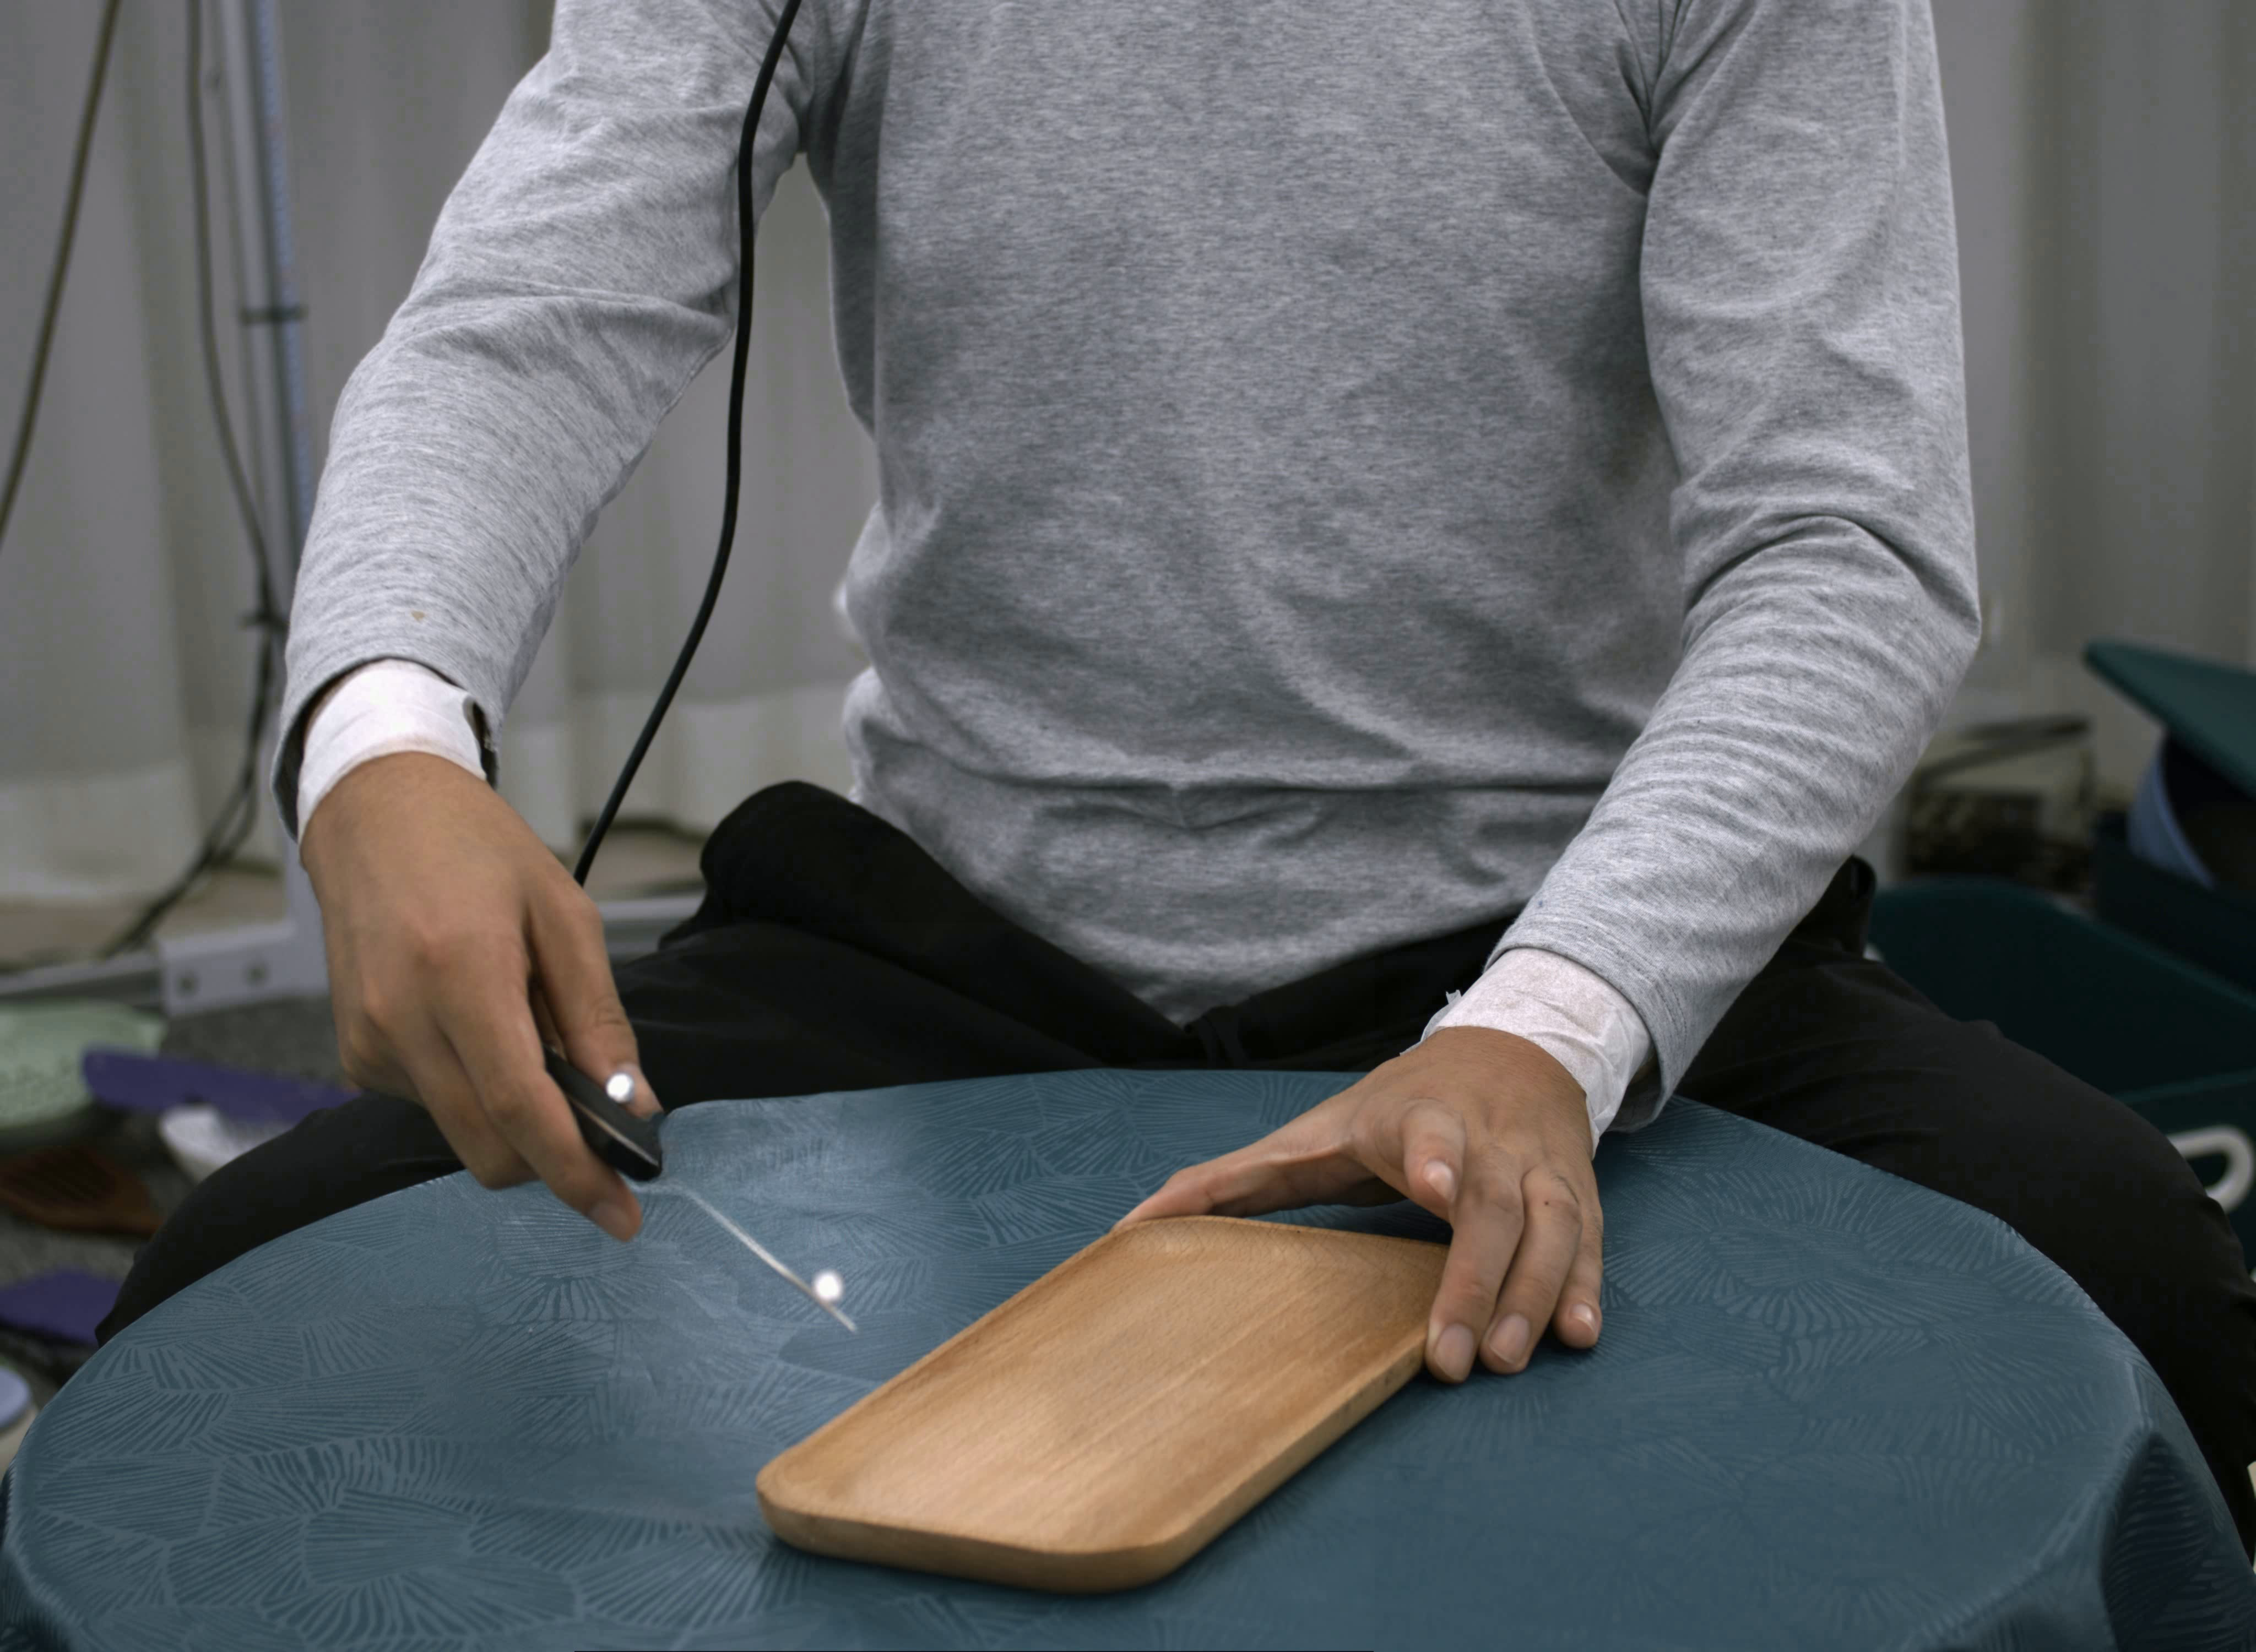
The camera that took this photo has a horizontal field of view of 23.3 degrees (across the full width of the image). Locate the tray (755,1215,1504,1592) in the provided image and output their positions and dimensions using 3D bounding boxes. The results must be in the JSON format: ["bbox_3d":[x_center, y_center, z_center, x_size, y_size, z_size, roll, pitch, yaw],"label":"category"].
[{"bbox_3d":[0.005,0.158,1.522,0.131,0.023,0.251,8,17,27],"label":"tray"}]

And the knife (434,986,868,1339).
[{"bbox_3d":[-0.132,0.090,1.489,0.016,0.024,0.240,-49,38,-8],"label":"knife"}]
